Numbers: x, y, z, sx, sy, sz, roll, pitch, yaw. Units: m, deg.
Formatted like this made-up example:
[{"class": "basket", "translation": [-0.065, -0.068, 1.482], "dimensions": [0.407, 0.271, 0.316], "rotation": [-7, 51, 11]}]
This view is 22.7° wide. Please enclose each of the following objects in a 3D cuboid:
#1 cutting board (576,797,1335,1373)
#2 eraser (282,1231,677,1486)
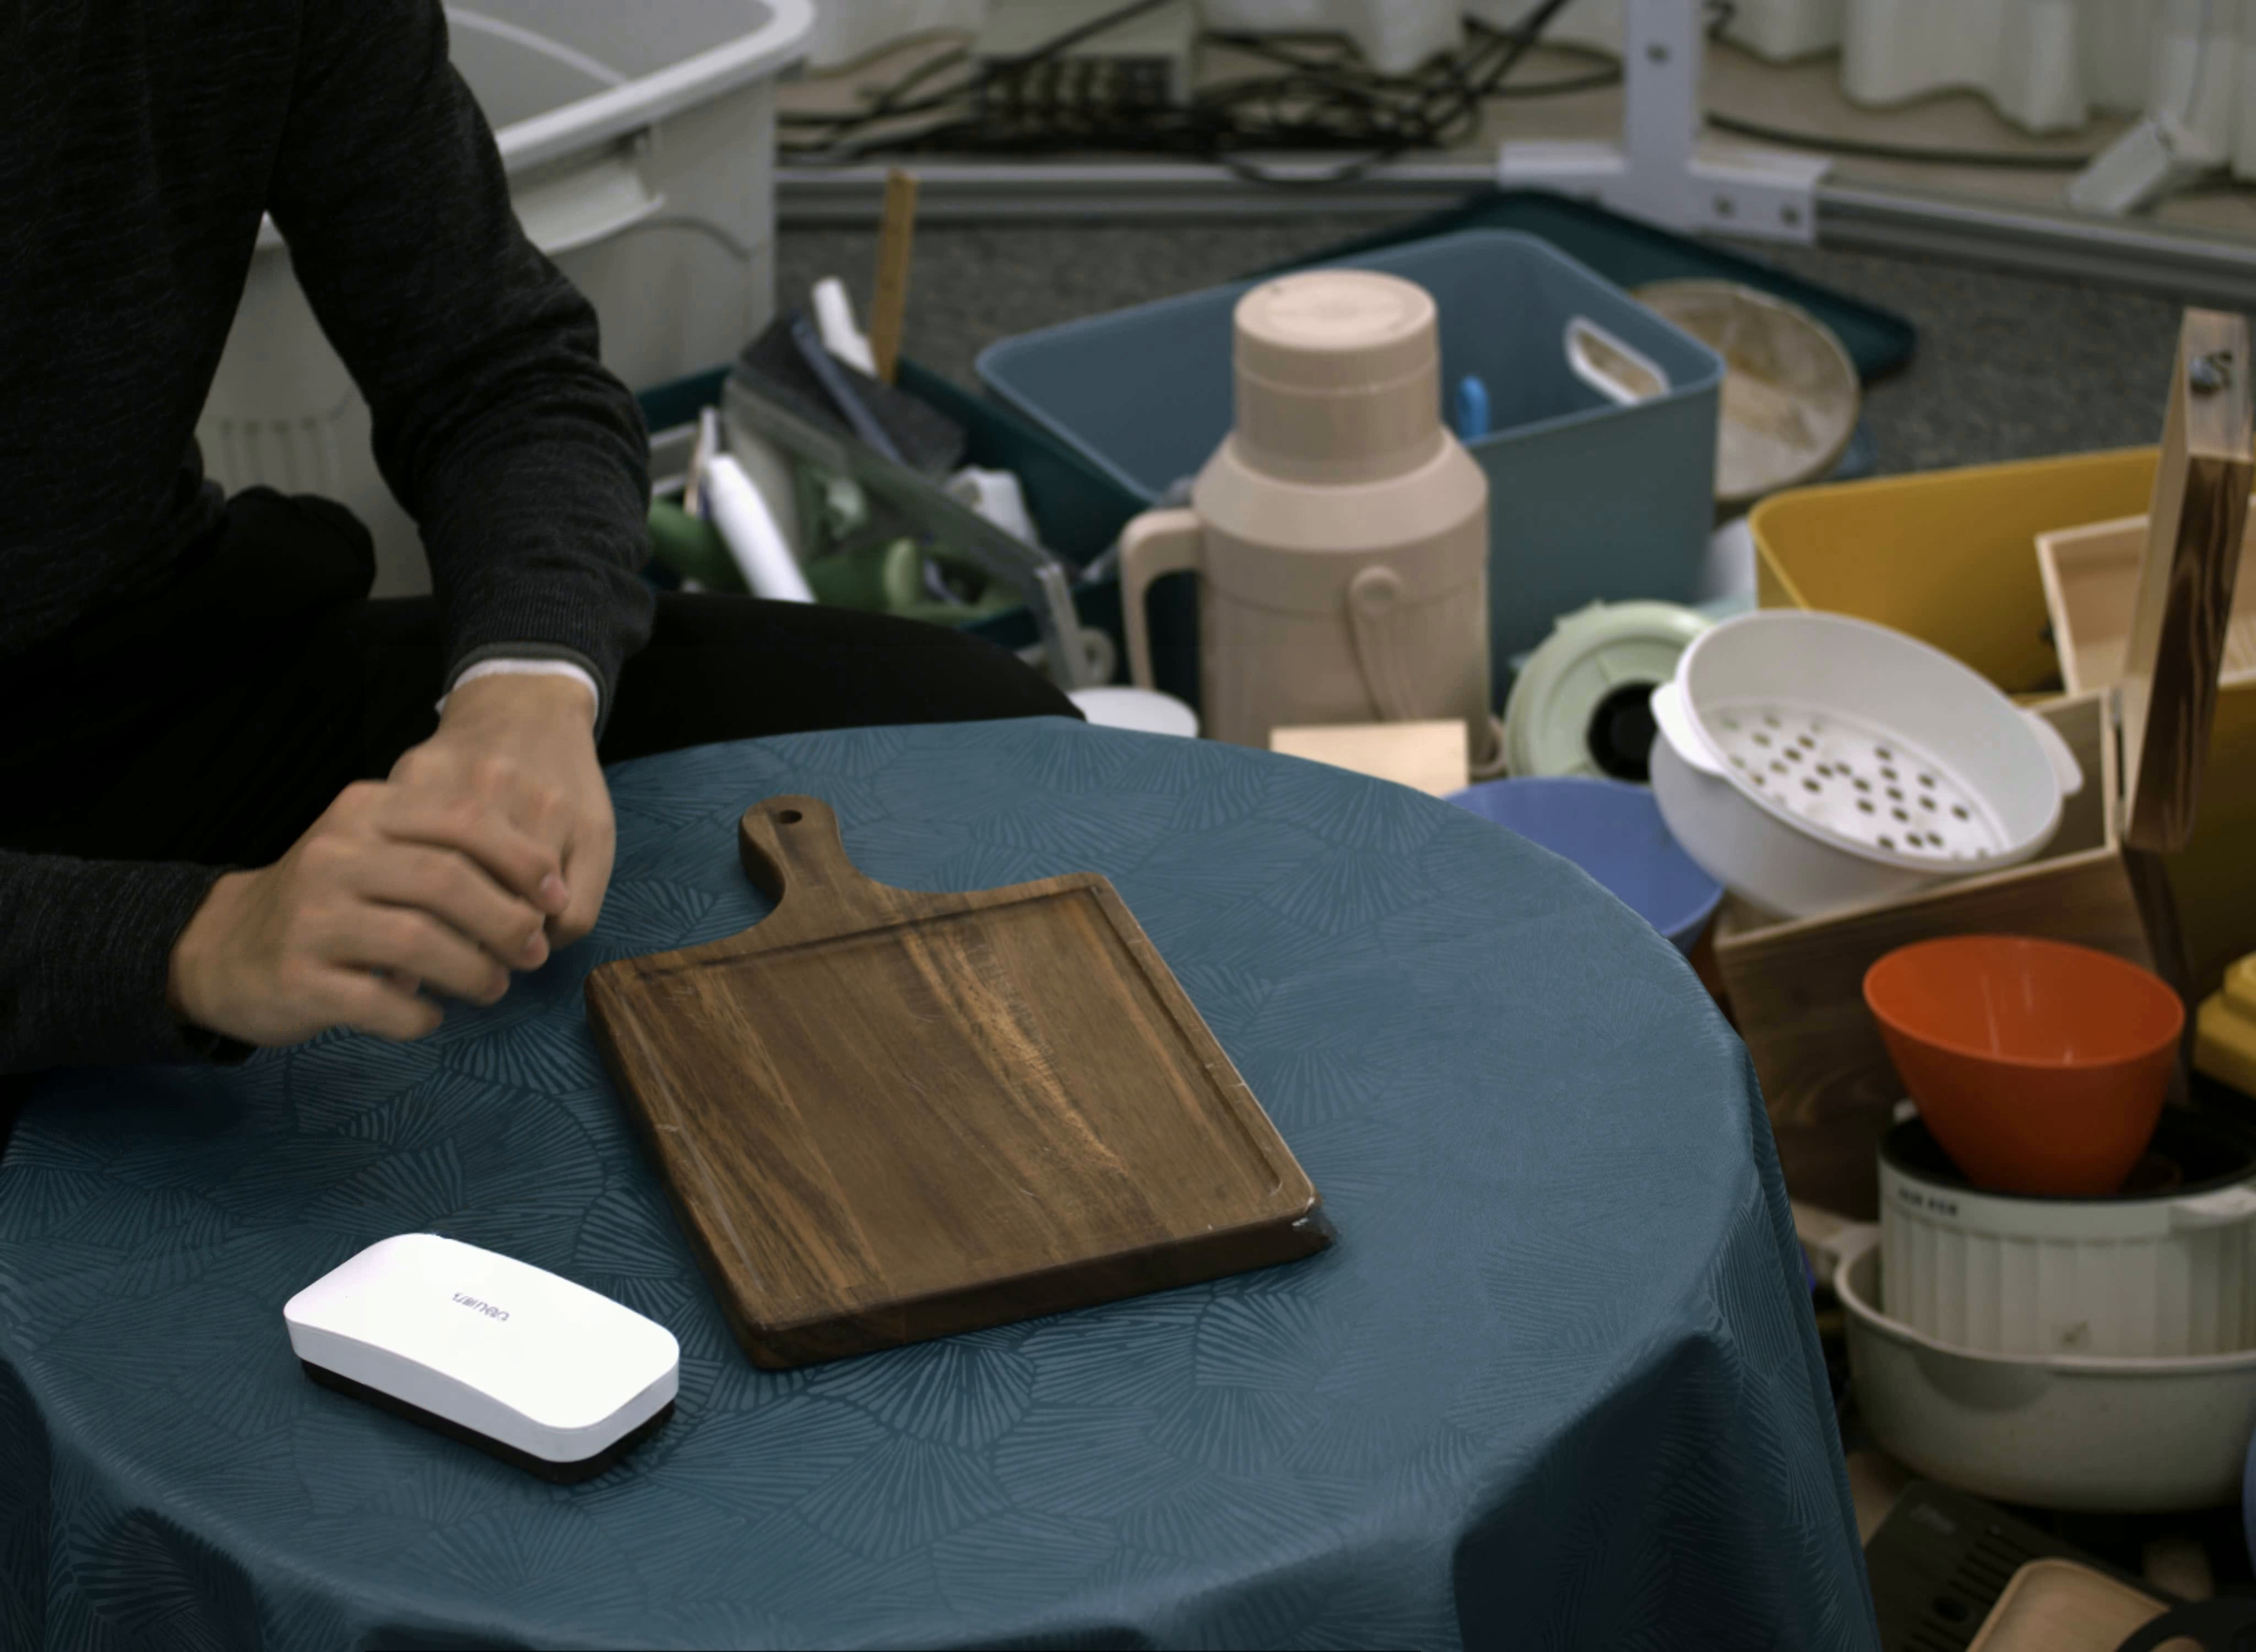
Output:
[{"class": "cutting board", "translation": [-0.078, 0.073, 1.939], "dimensions": [0.201, 0.023, 0.355], "rotation": [-11, 28, -15]}, {"class": "eraser", "translation": [-0.203, 0.164, 1.765], "dimensions": [0.131, 0.034, 0.064], "rotation": [19, 35, 34]}]
